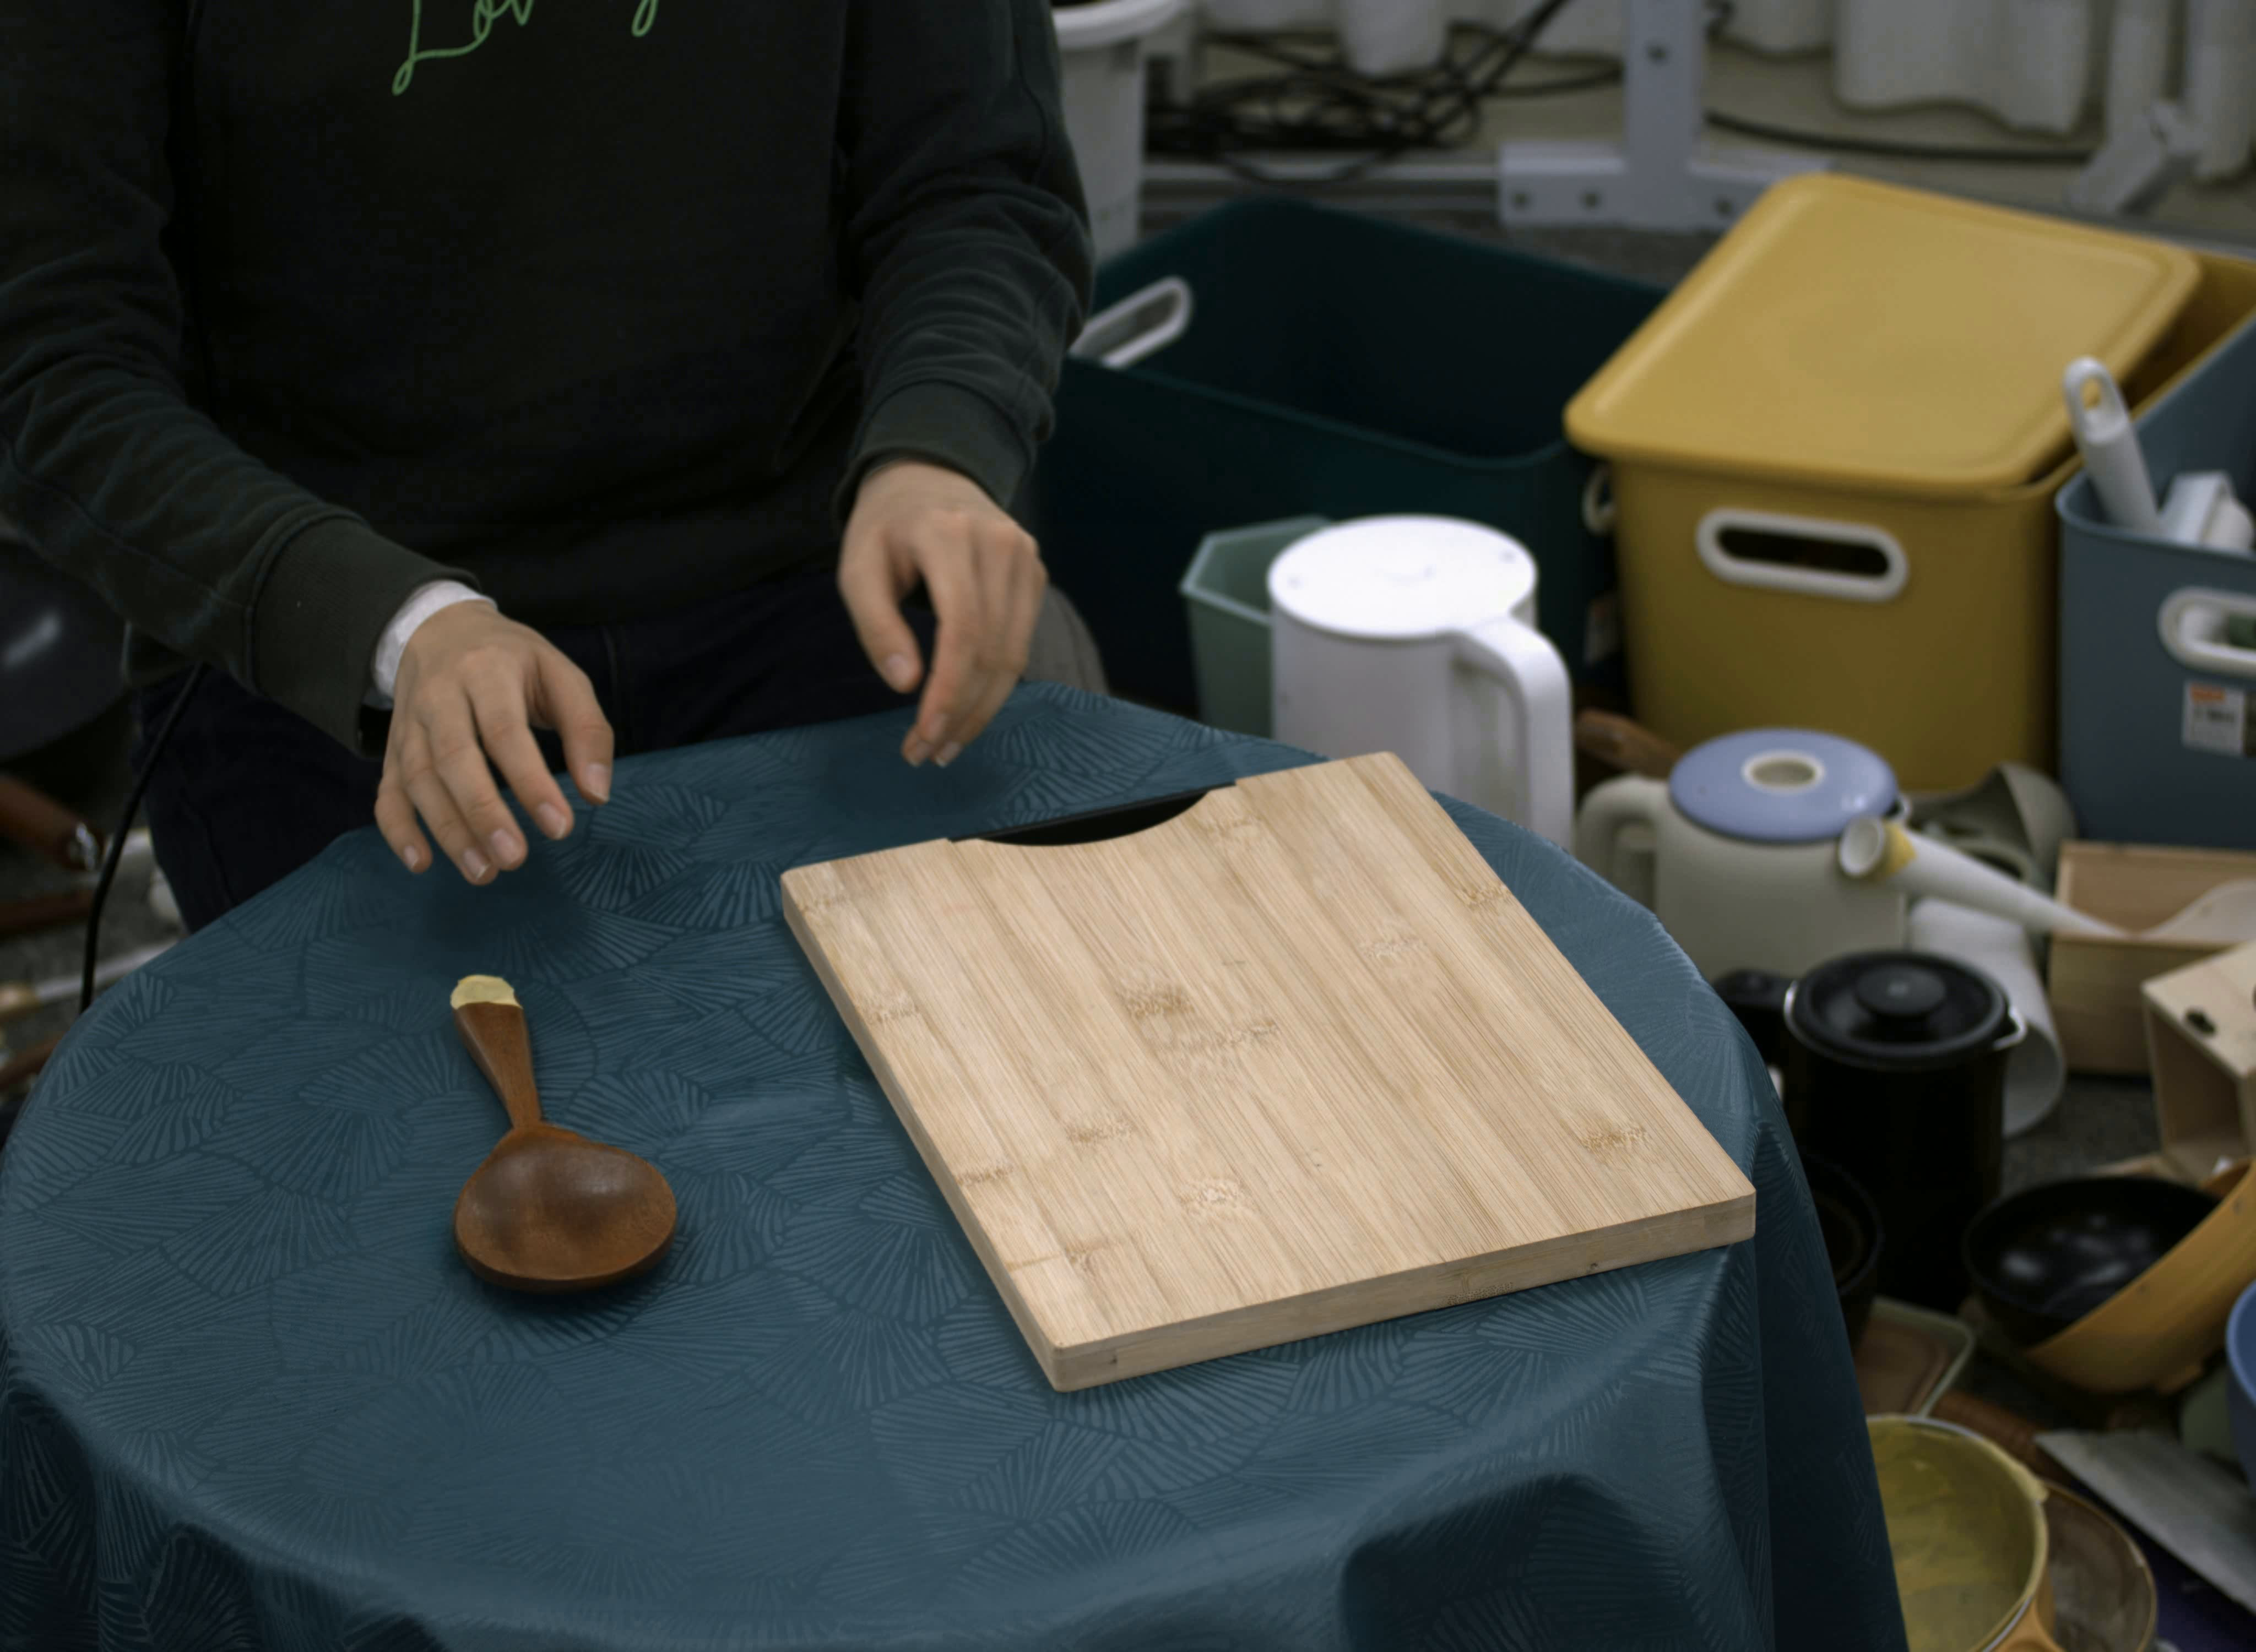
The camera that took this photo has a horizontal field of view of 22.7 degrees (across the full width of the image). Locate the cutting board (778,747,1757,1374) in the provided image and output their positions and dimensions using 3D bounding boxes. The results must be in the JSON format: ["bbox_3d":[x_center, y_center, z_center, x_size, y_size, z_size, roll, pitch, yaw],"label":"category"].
[{"bbox_3d":[0.038,0.074,1.933,0.251,0.023,0.352,-11,28,-16],"label":"cutting board"}]

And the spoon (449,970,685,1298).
[{"bbox_3d":[-0.200,0.104,1.895,0.075,0.017,0.218,-11,29,-12],"label":"spoon"}]
